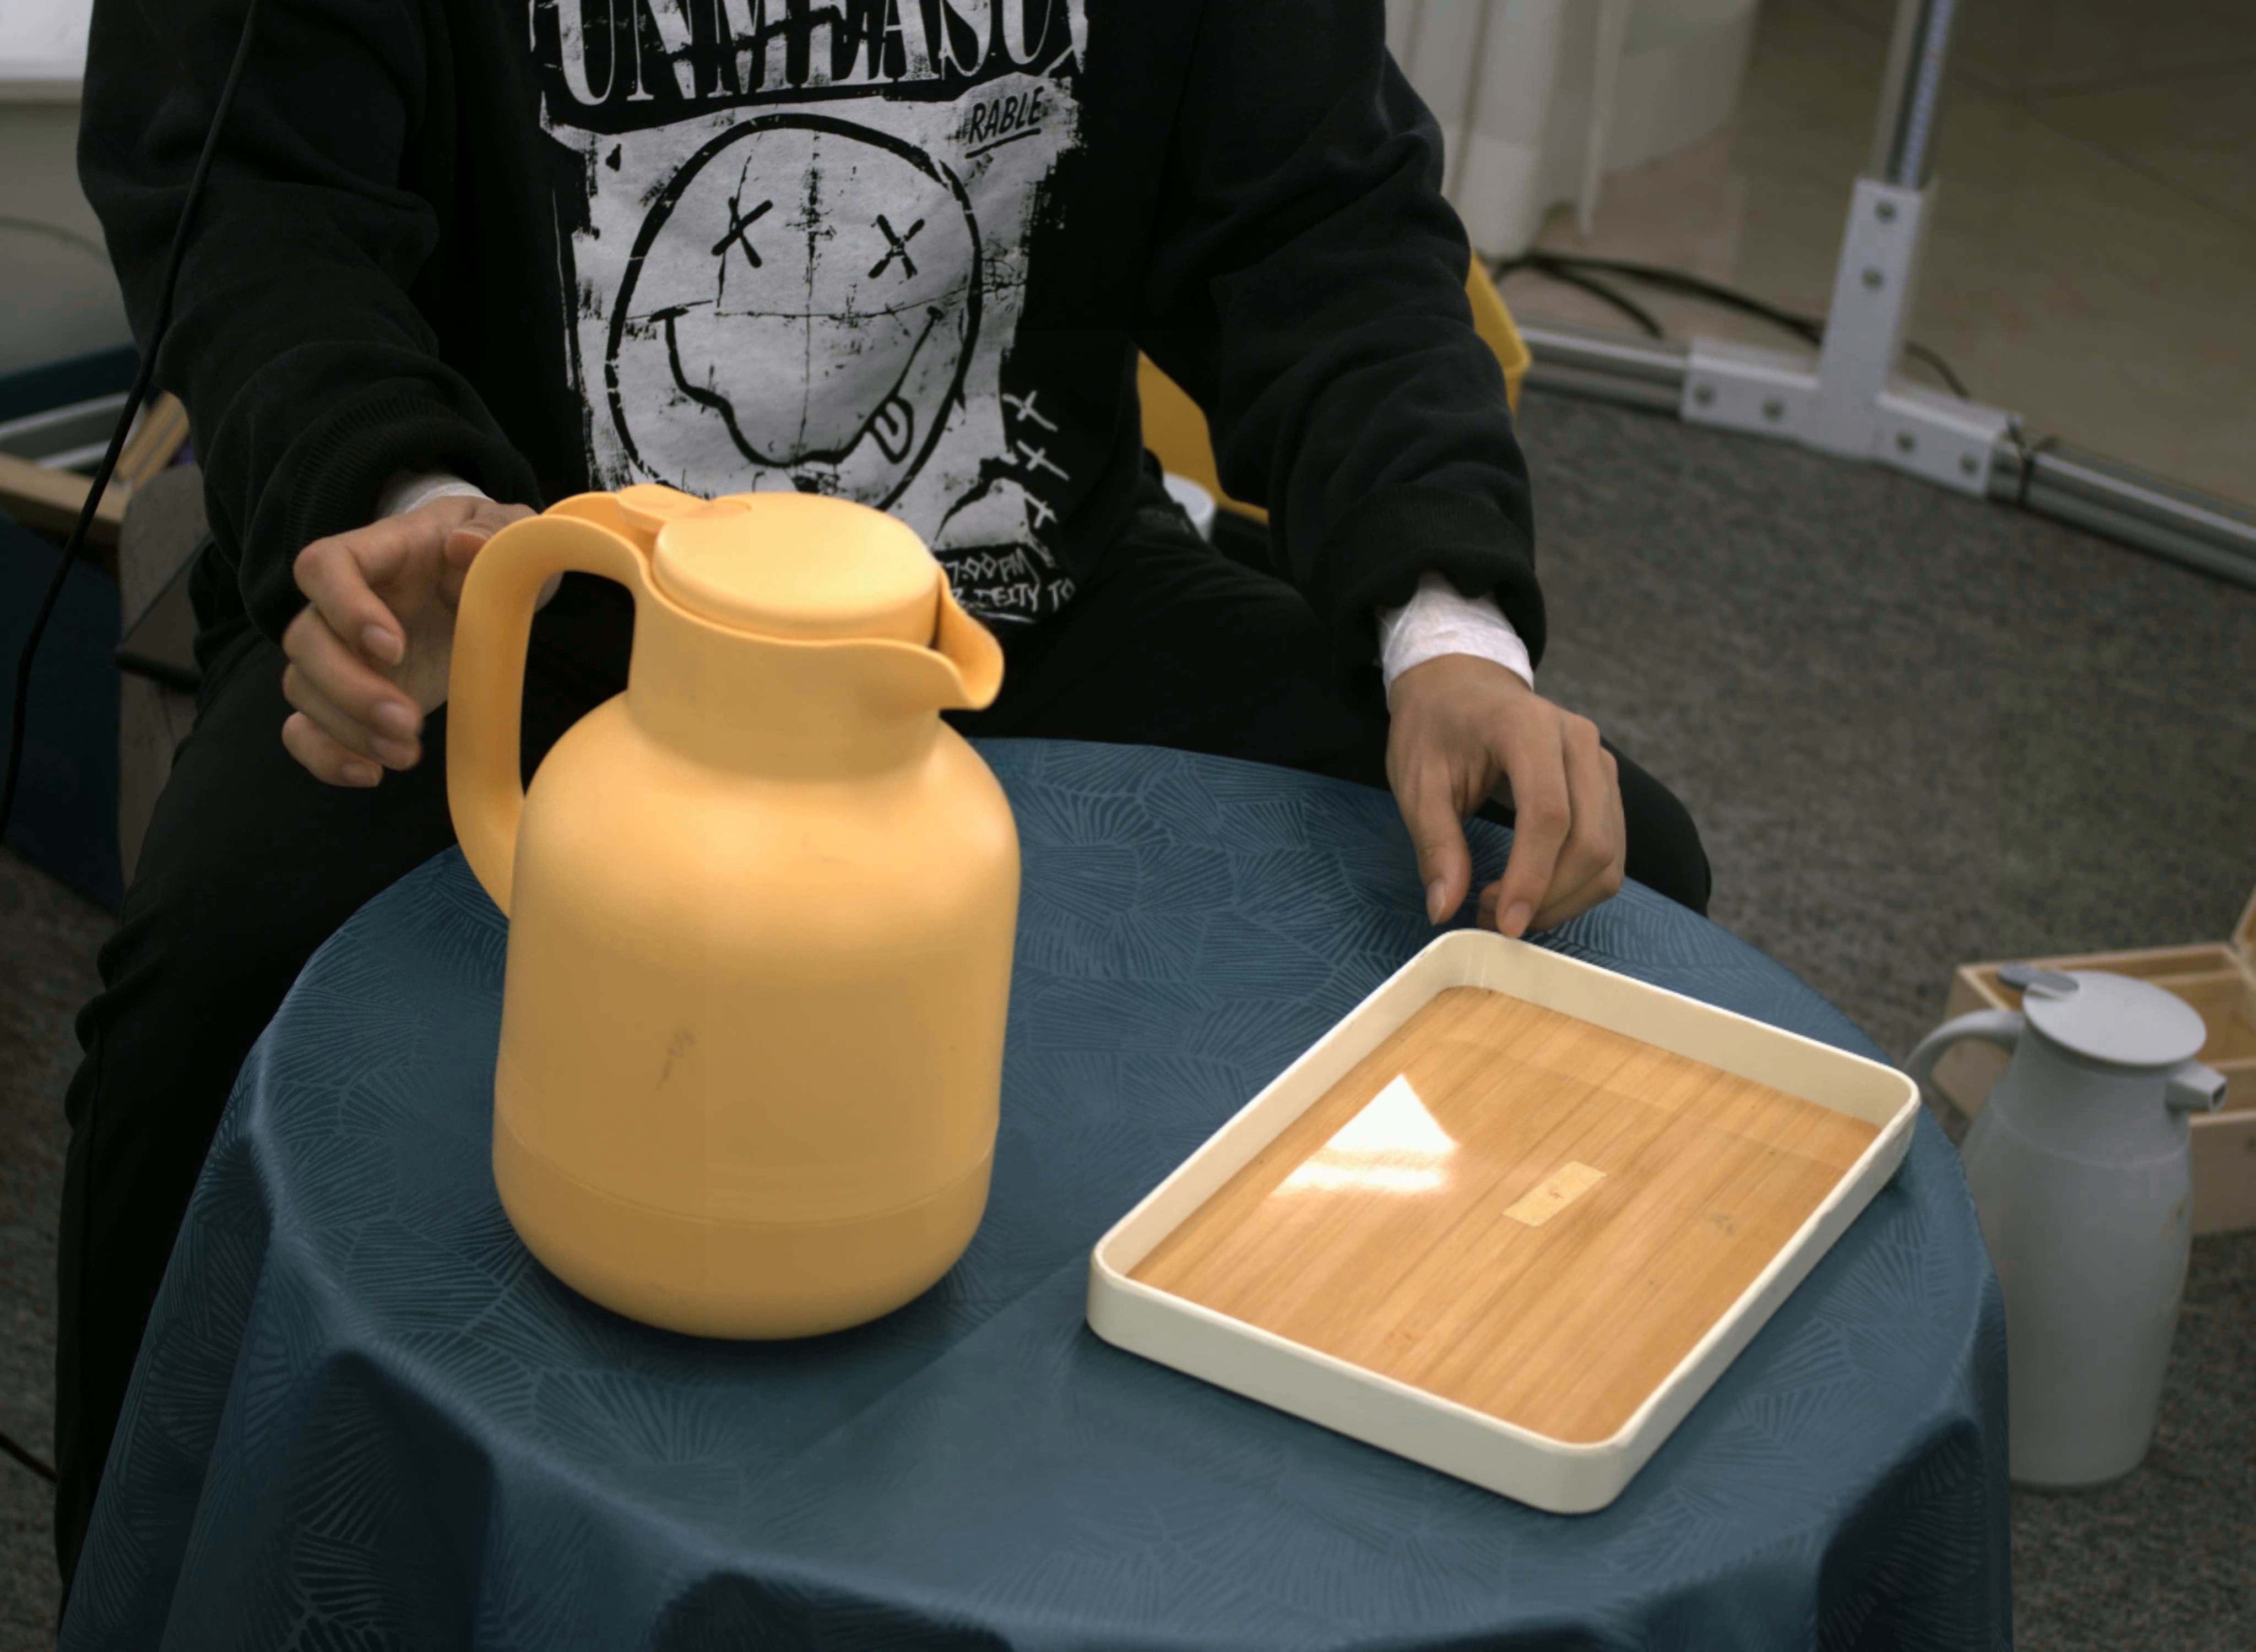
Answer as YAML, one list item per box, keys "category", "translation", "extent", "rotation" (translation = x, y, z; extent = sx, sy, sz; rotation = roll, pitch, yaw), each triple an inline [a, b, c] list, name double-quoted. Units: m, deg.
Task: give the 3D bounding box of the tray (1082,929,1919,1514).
- category: "tray"
  translation: [0.131, 0.127, 1.799]
  extent: [0.192, 0.027, 0.300]
  rotation: [19, 29, 23]

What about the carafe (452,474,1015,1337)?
- category: "carafe"
  translation: [-0.132, 0.015, 1.701]
  extent: [0.203, 0.260, 0.163]
  rotation: [24, 29, 28]
